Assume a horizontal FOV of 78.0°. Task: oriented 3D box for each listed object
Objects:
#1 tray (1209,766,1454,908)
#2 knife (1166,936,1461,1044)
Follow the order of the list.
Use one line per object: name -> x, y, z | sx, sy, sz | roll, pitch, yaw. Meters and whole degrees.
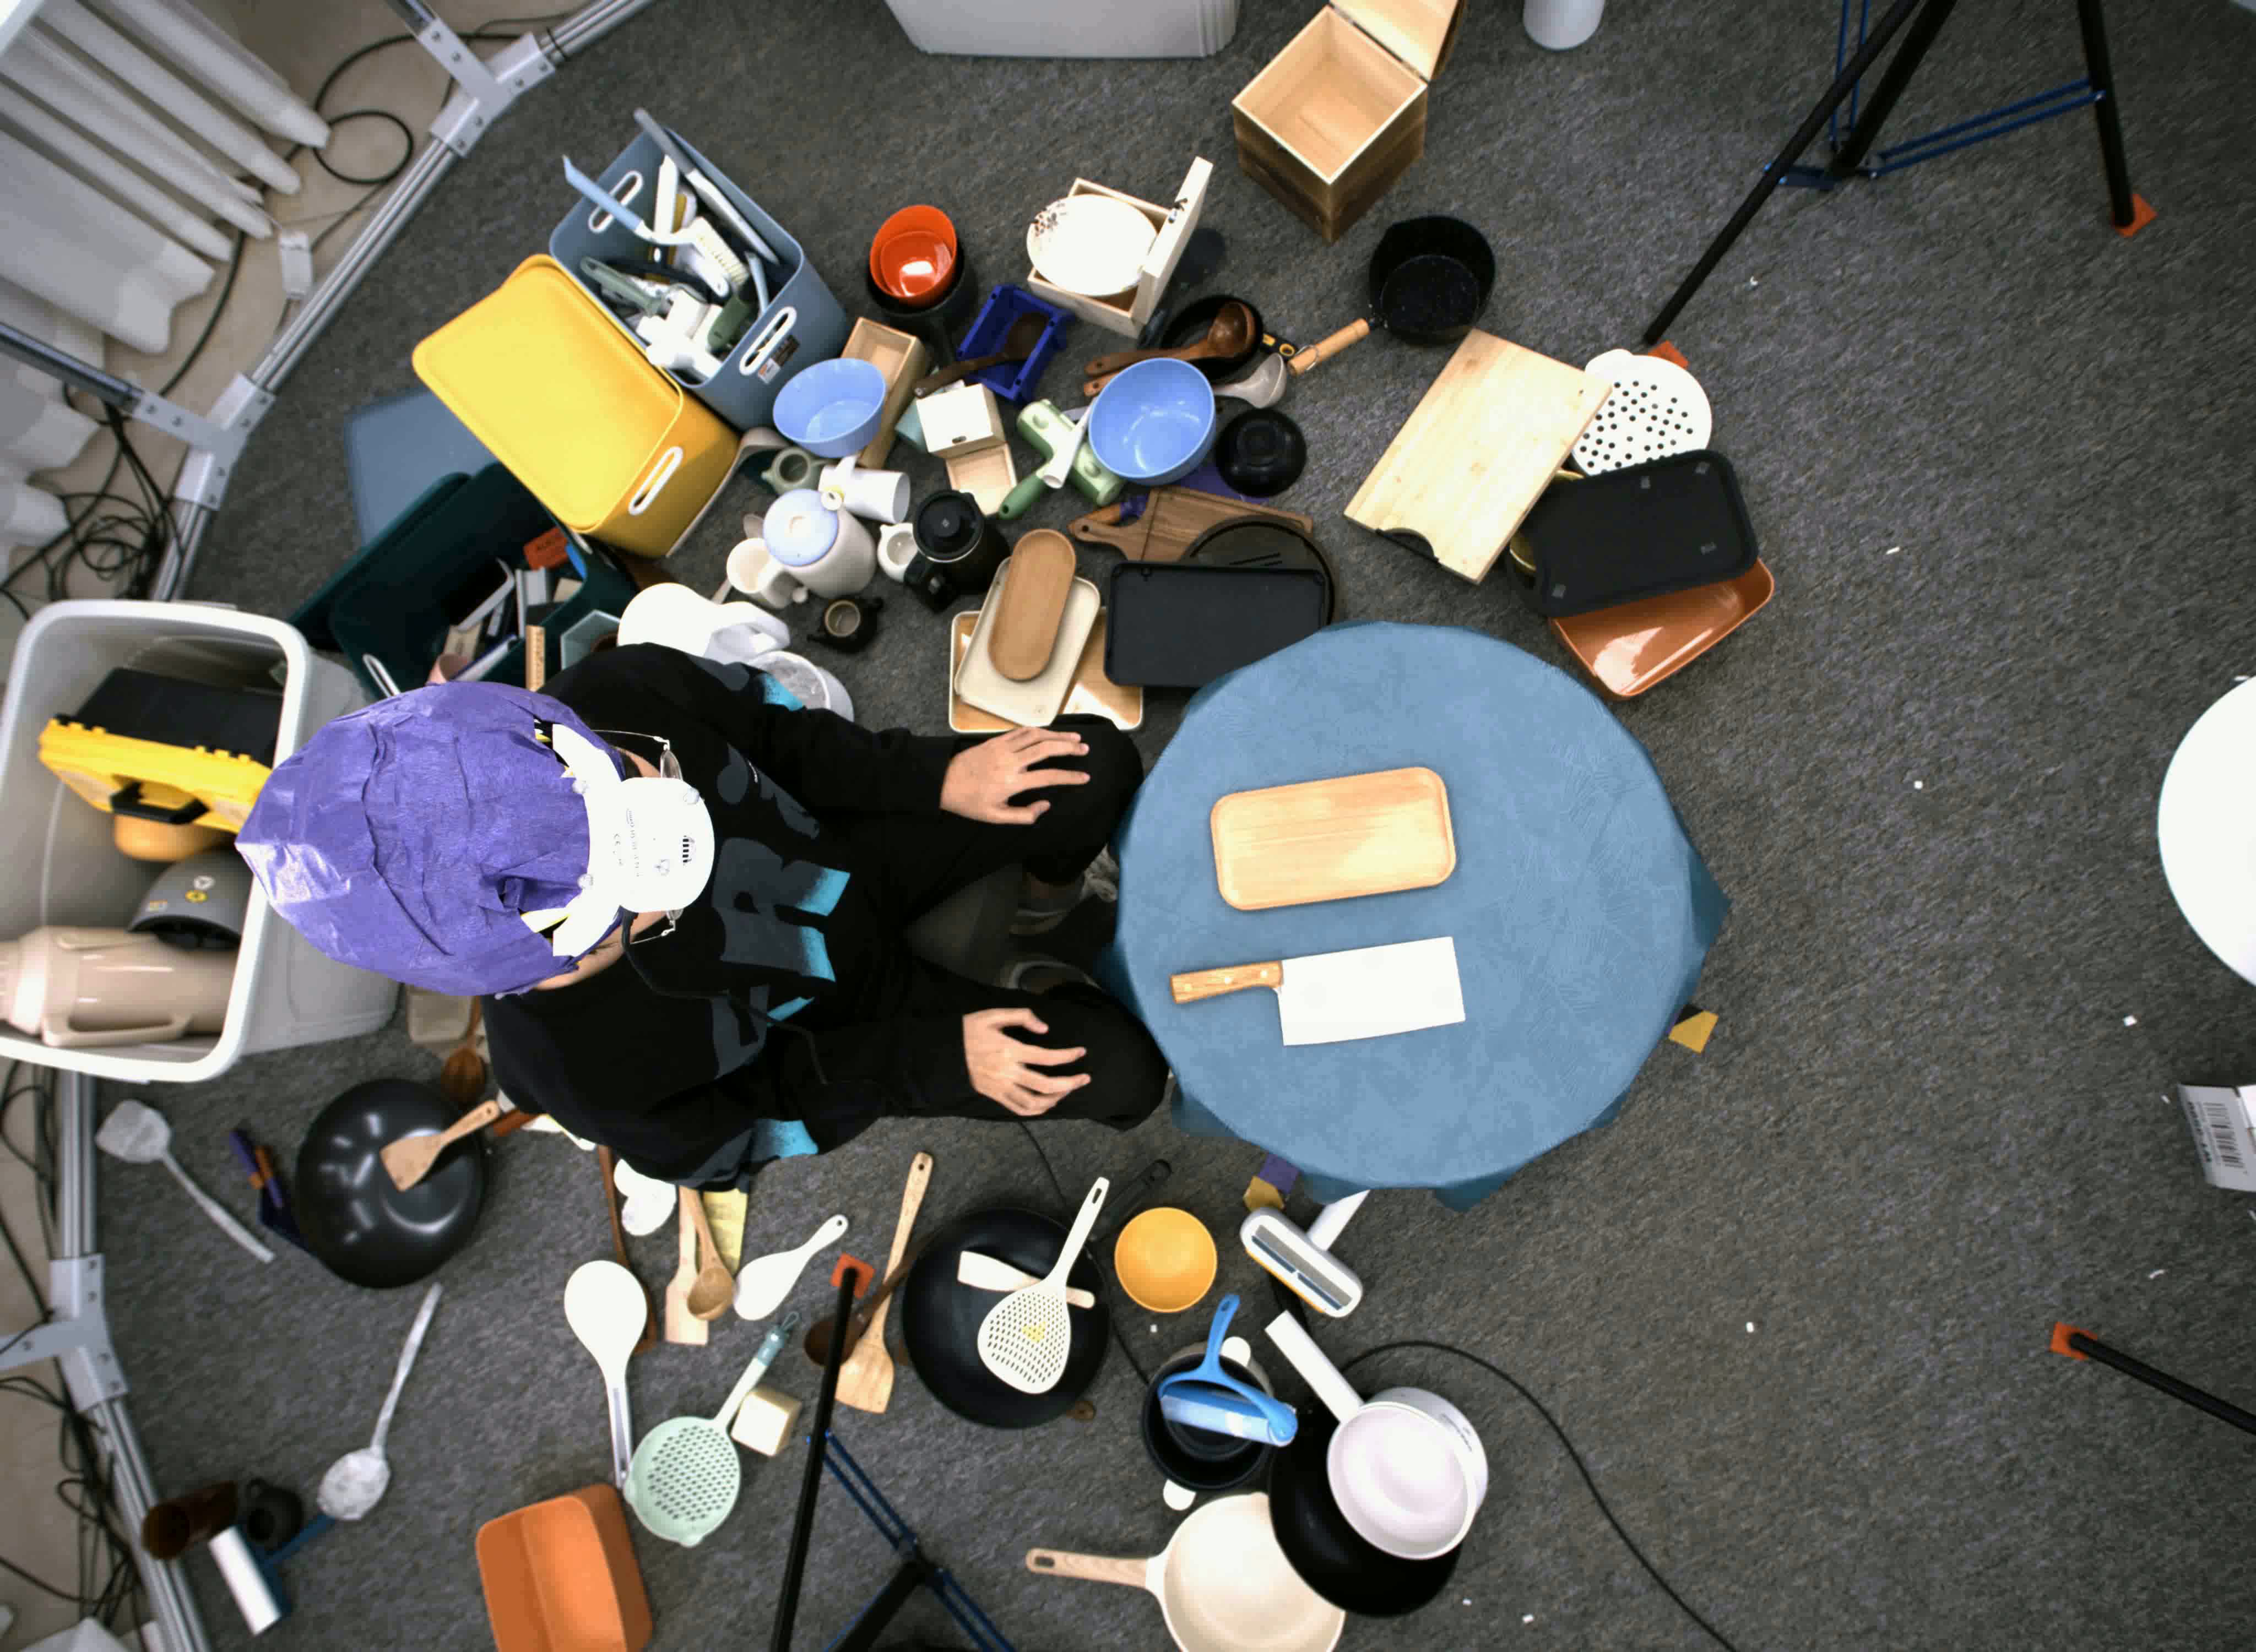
tray -> 0.214, 0.012, 1.466 | 0.252, 0.023, 0.129 | -7, 84, 11
knife -> 0.195, 0.179, 1.460 | 0.307, 0.021, 0.092 | -9, 87, 8
